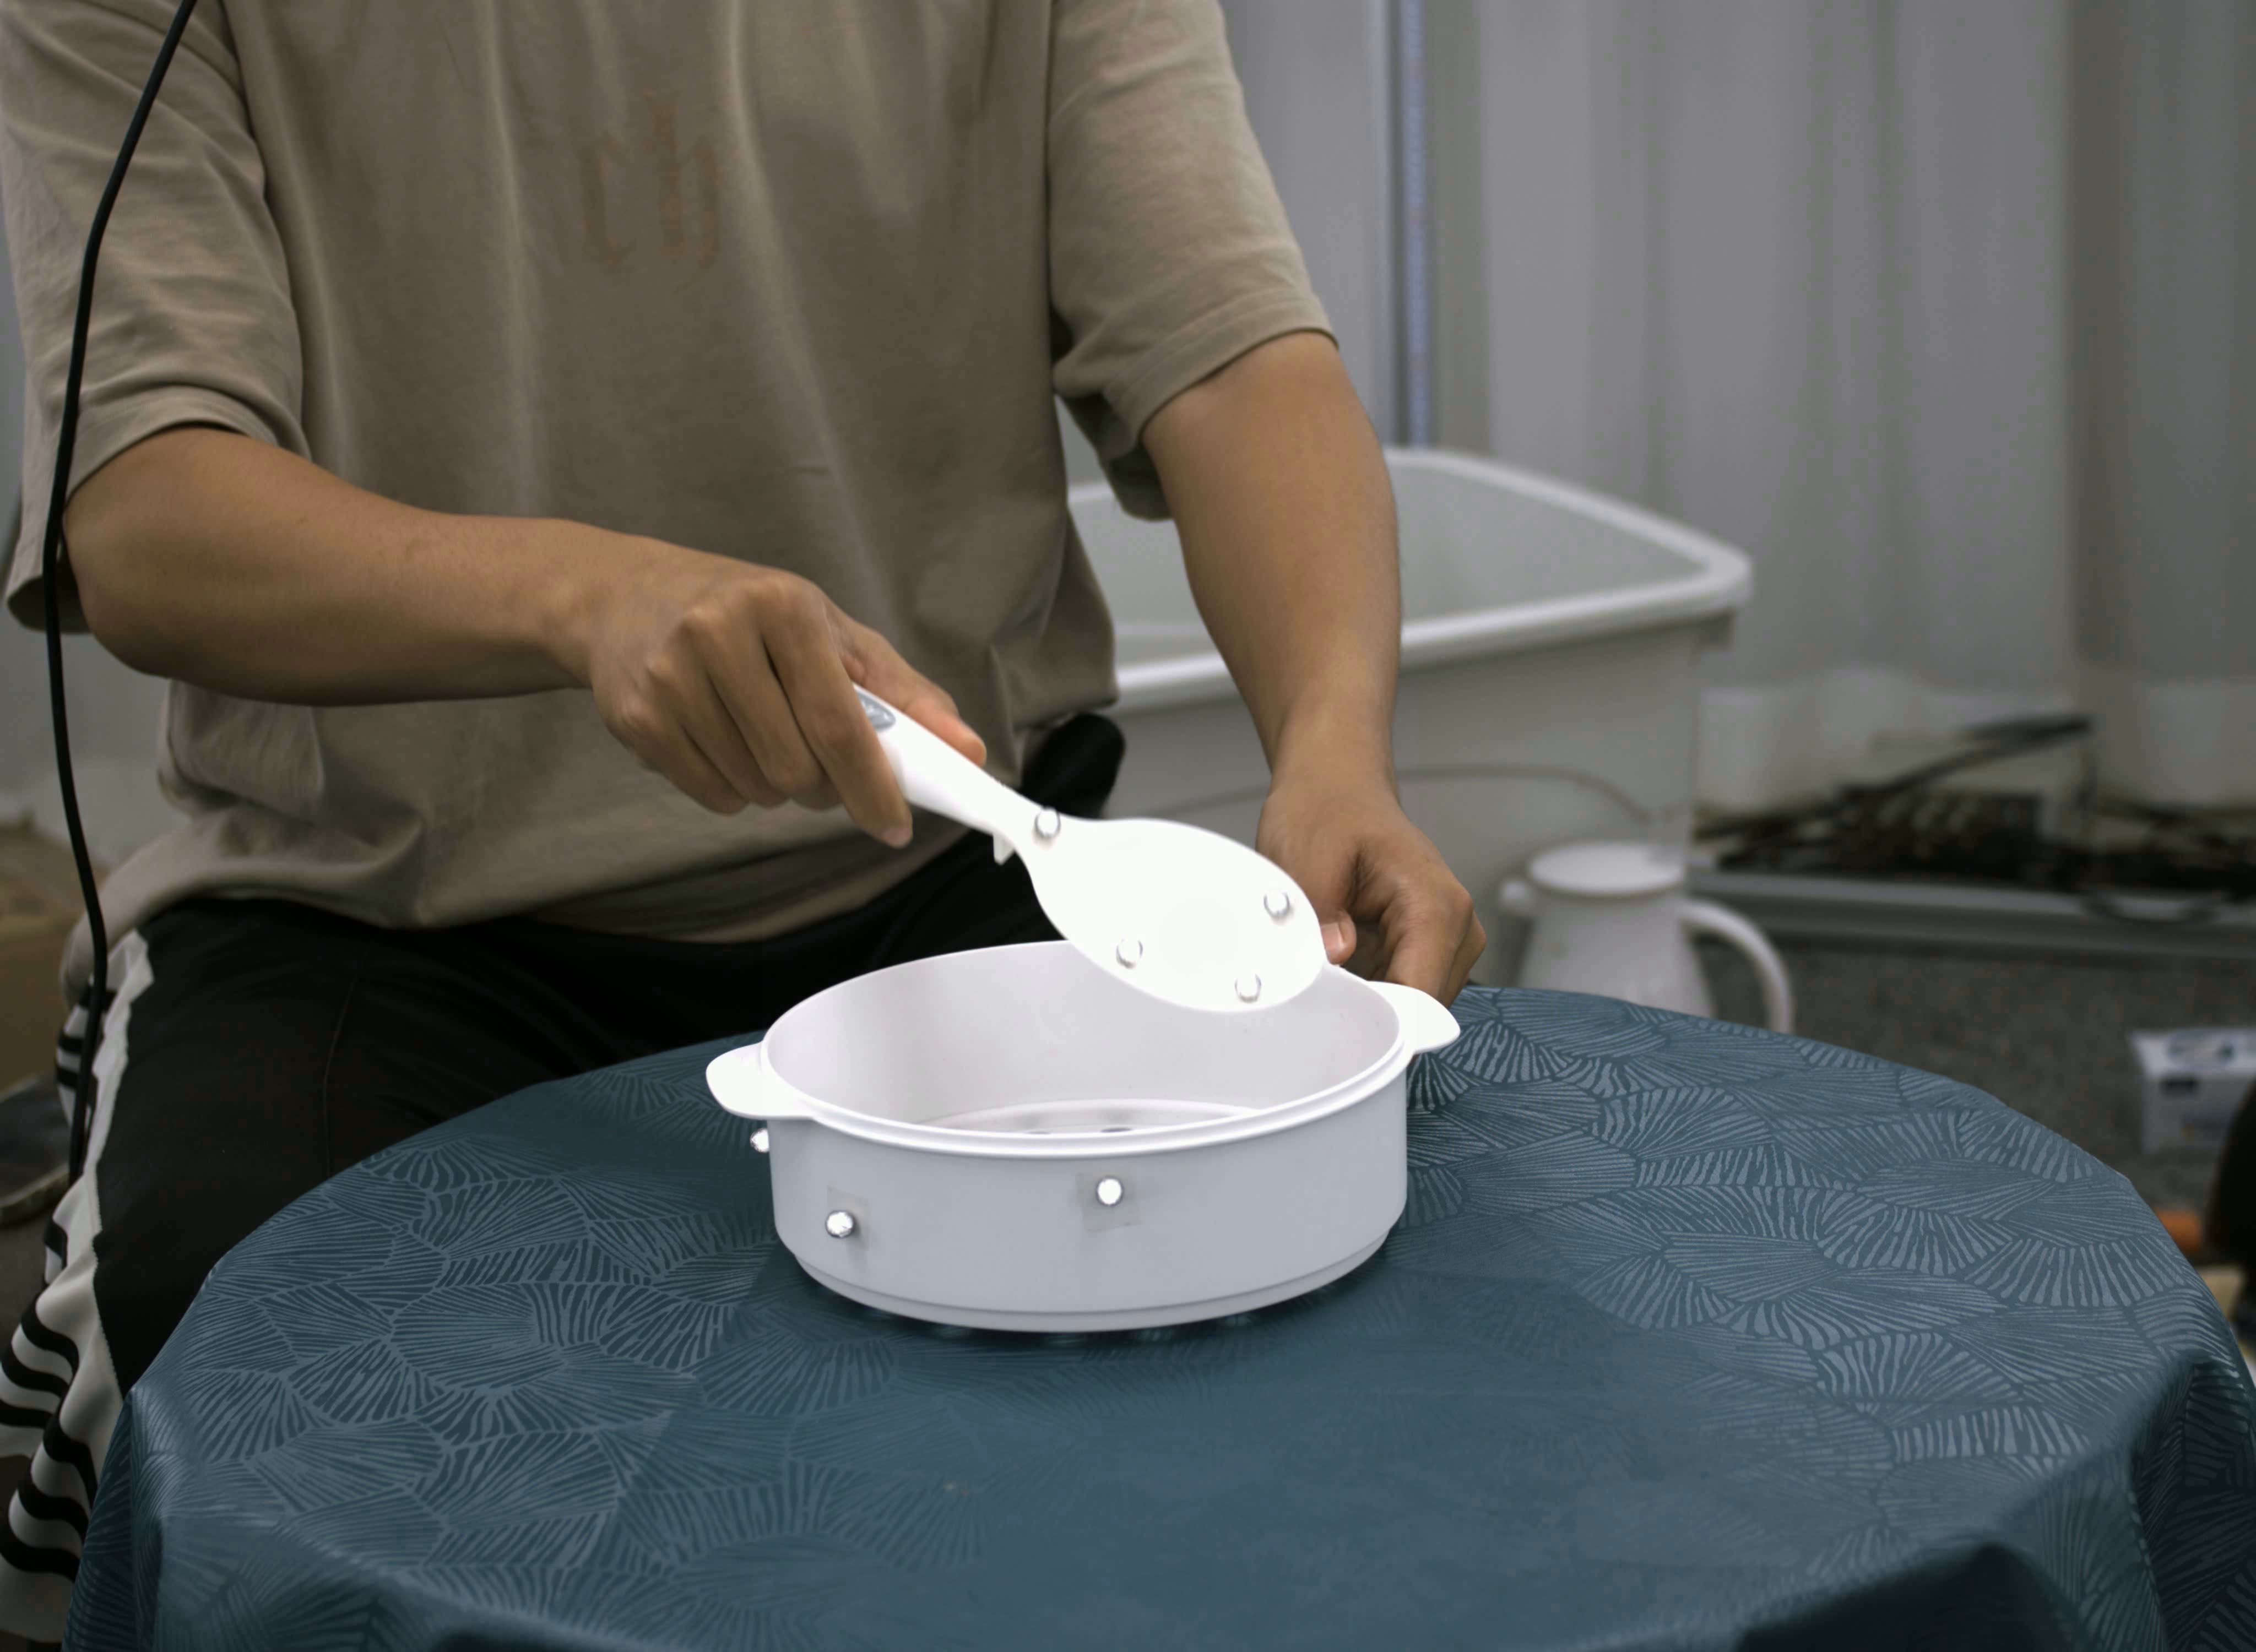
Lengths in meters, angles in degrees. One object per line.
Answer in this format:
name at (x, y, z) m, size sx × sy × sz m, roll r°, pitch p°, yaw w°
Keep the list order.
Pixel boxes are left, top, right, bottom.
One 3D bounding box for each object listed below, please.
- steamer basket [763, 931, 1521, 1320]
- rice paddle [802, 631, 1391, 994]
steamer basket at (0.004, 0.091, 1.662) m, size 0.229 × 0.069 × 0.203 m, roll -3°, pitch 15°, yaw -11°
rice paddle at (-0.009, -0.004, 1.678) m, size 0.206 × 0.029 × 0.069 m, roll 28°, pitch 50°, yaw 22°
